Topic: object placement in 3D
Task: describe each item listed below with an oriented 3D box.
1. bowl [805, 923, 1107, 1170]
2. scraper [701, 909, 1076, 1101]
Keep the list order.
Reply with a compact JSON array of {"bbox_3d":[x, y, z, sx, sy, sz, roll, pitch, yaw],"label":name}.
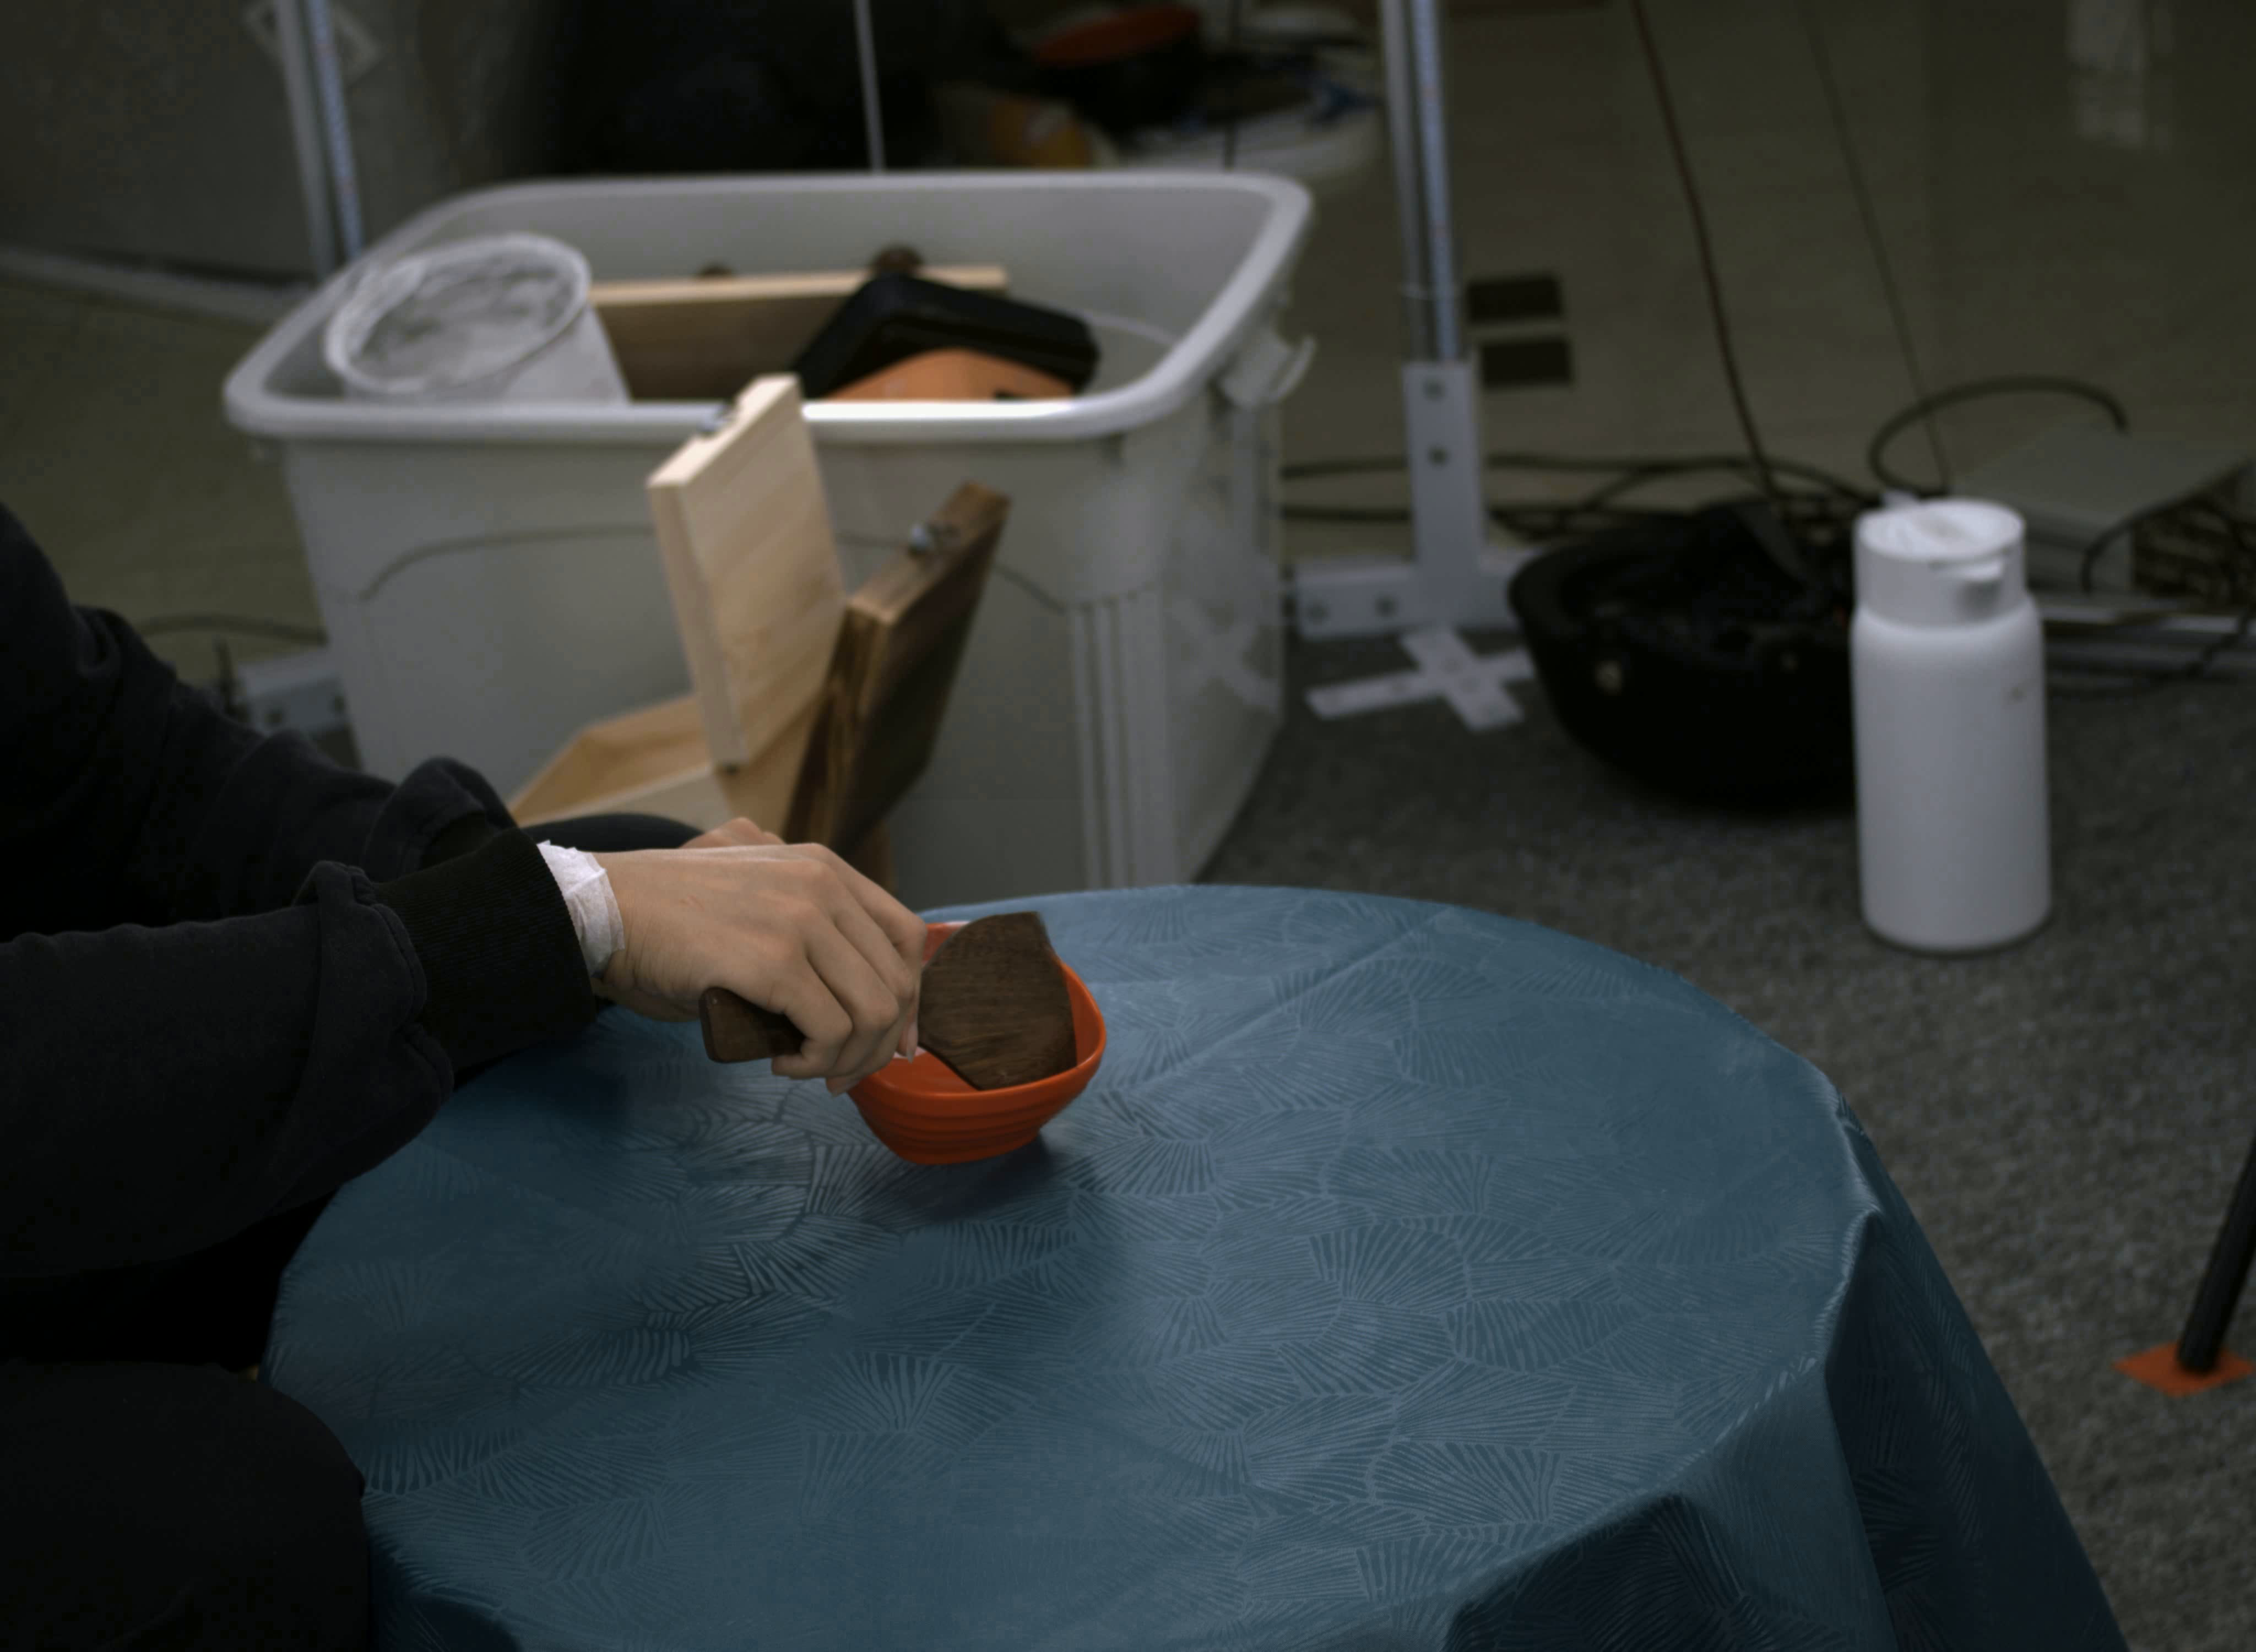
[{"bbox_3d":[-0.069,0.091,2.194,0.119,0.052,0.117,6,36,-4],"label":"bowl"},{"bbox_3d":[-0.088,0.071,2.109,0.011,0.076,0.211,-9,-5,36],"label":"scraper"}]
